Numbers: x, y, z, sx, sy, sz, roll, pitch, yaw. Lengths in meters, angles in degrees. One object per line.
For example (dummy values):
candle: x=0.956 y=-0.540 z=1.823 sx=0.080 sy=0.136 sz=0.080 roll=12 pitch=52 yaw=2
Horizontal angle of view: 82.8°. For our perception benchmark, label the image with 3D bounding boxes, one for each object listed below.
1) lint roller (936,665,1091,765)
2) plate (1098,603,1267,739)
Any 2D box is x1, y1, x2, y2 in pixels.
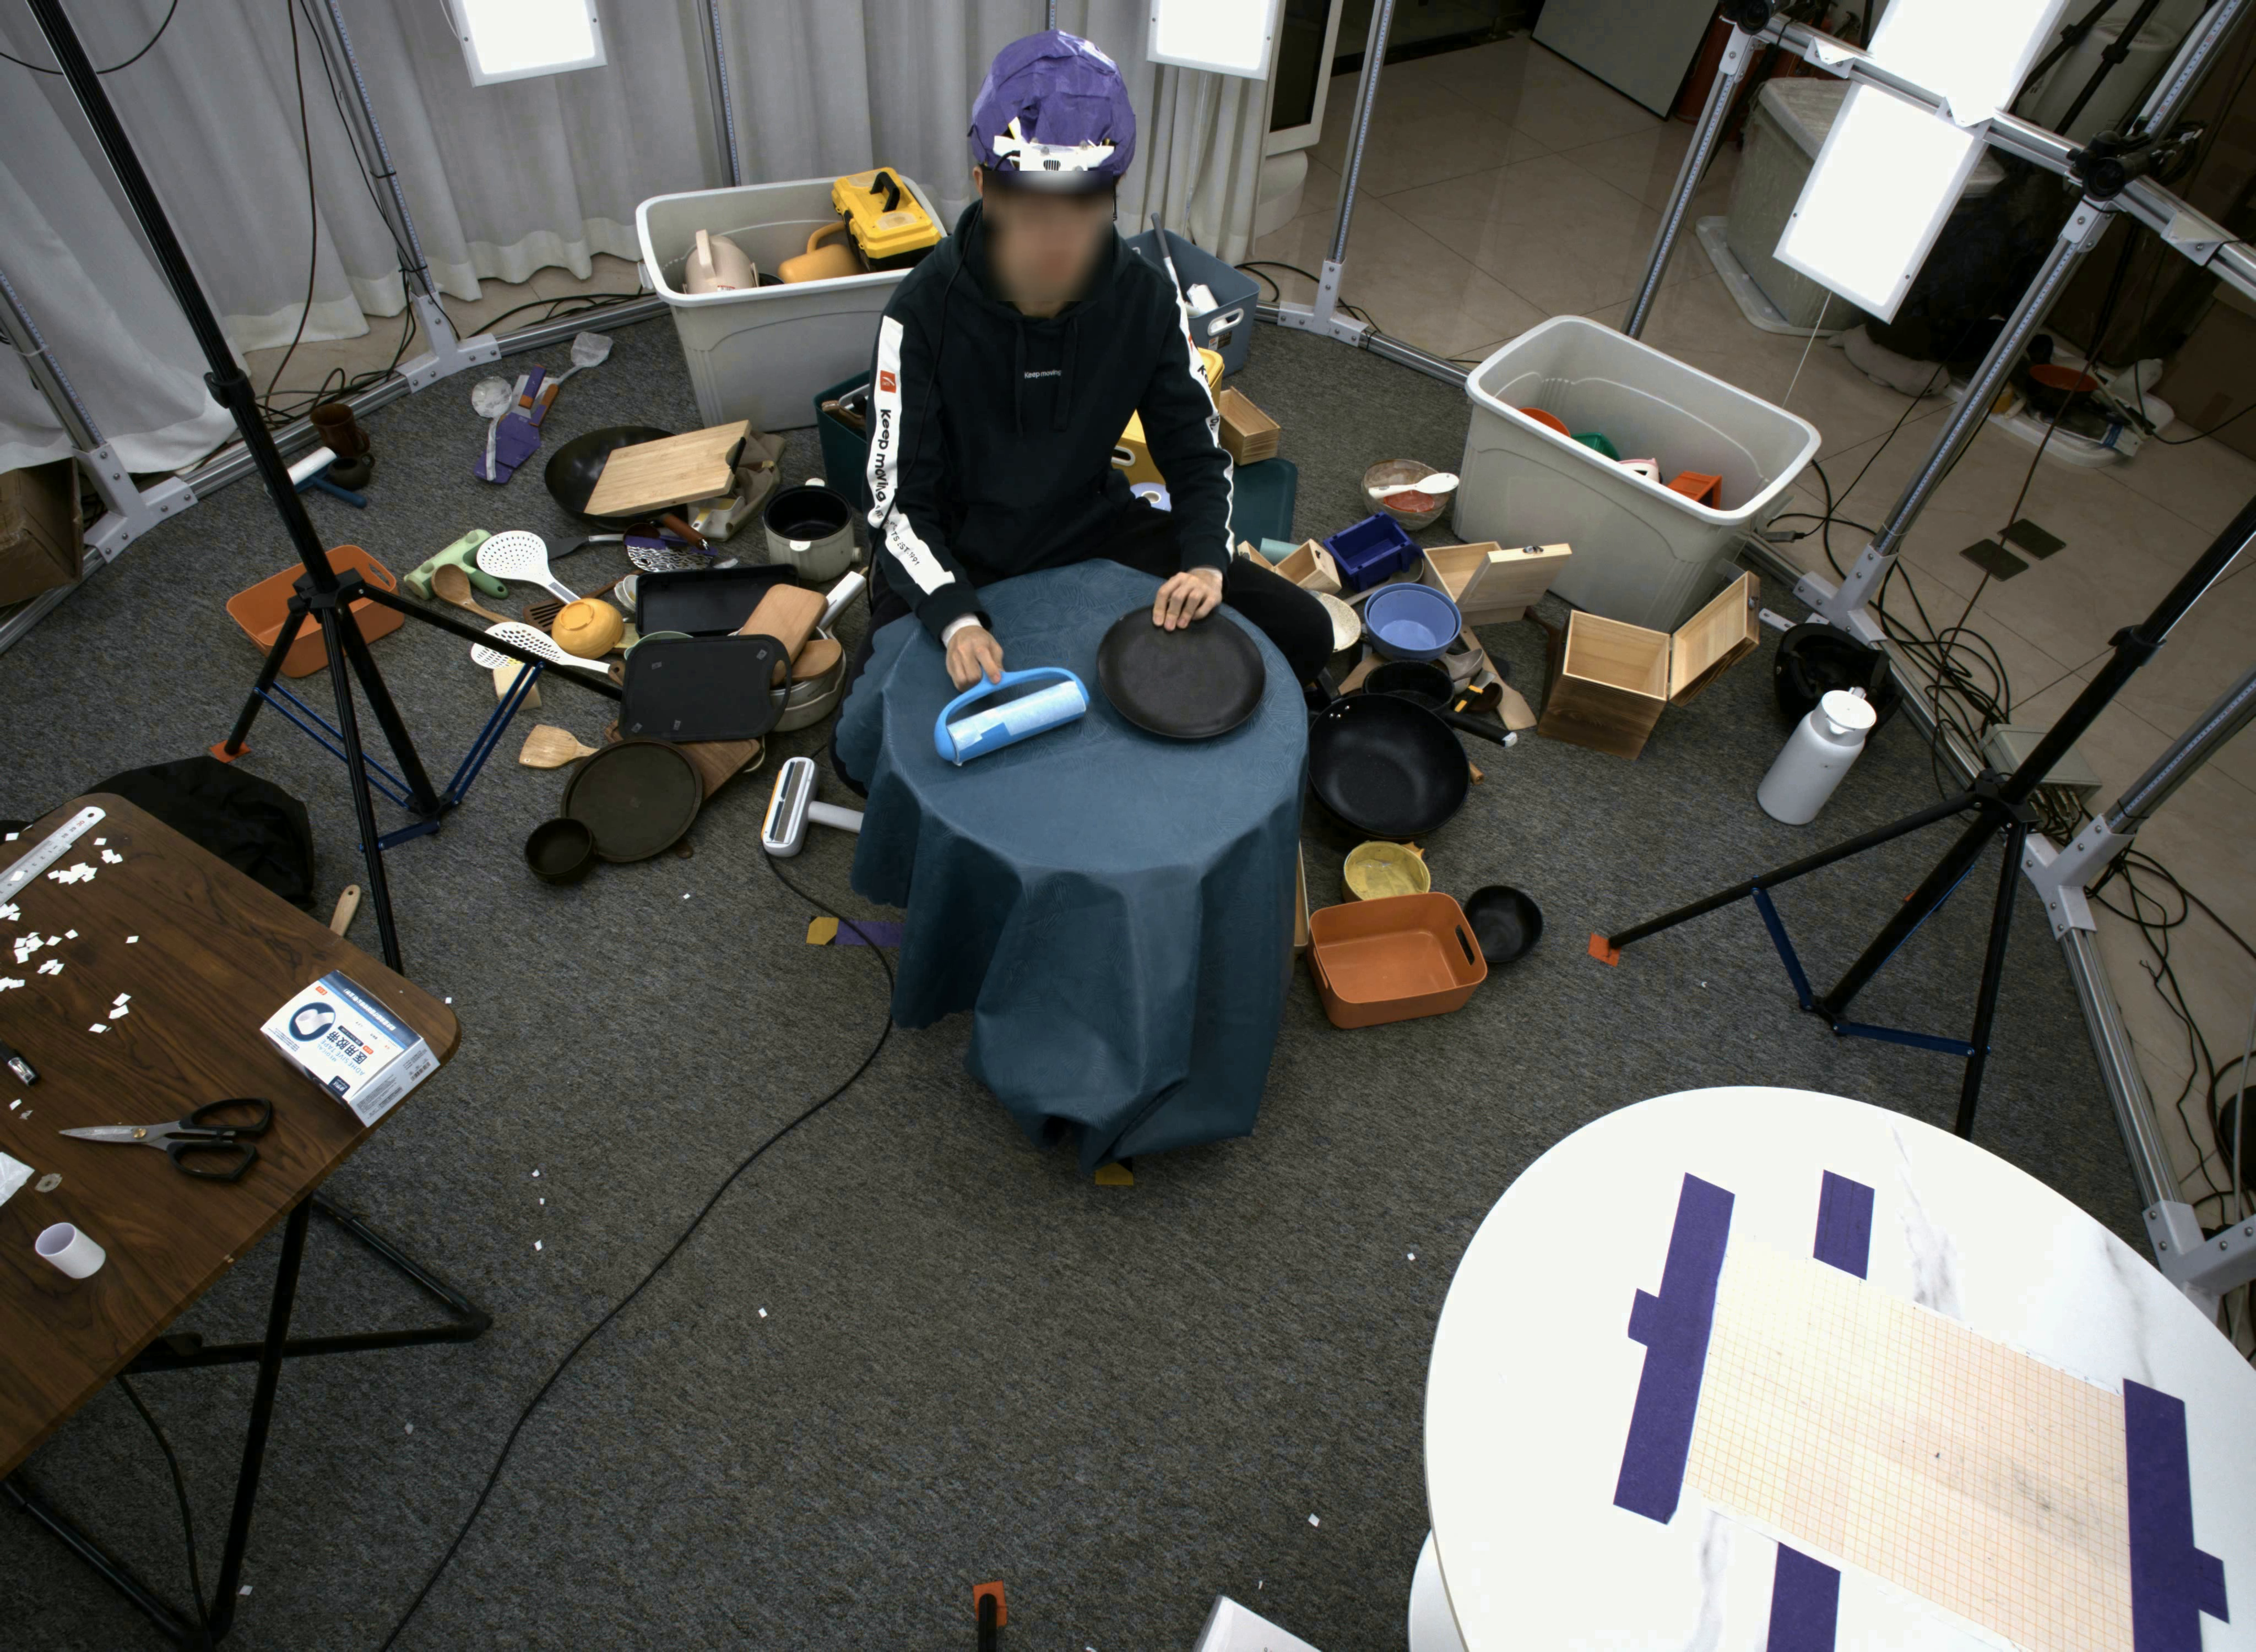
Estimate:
lint roller: x=-0.185 y=-0.180 z=1.776 sx=0.230 sy=0.066 sz=0.184 roll=-26 pitch=54 yaw=-22
plate: x=0.077 y=-0.220 z=1.832 sx=0.244 sy=0.023 sz=0.250 roll=3 pitch=57 yaw=-5
